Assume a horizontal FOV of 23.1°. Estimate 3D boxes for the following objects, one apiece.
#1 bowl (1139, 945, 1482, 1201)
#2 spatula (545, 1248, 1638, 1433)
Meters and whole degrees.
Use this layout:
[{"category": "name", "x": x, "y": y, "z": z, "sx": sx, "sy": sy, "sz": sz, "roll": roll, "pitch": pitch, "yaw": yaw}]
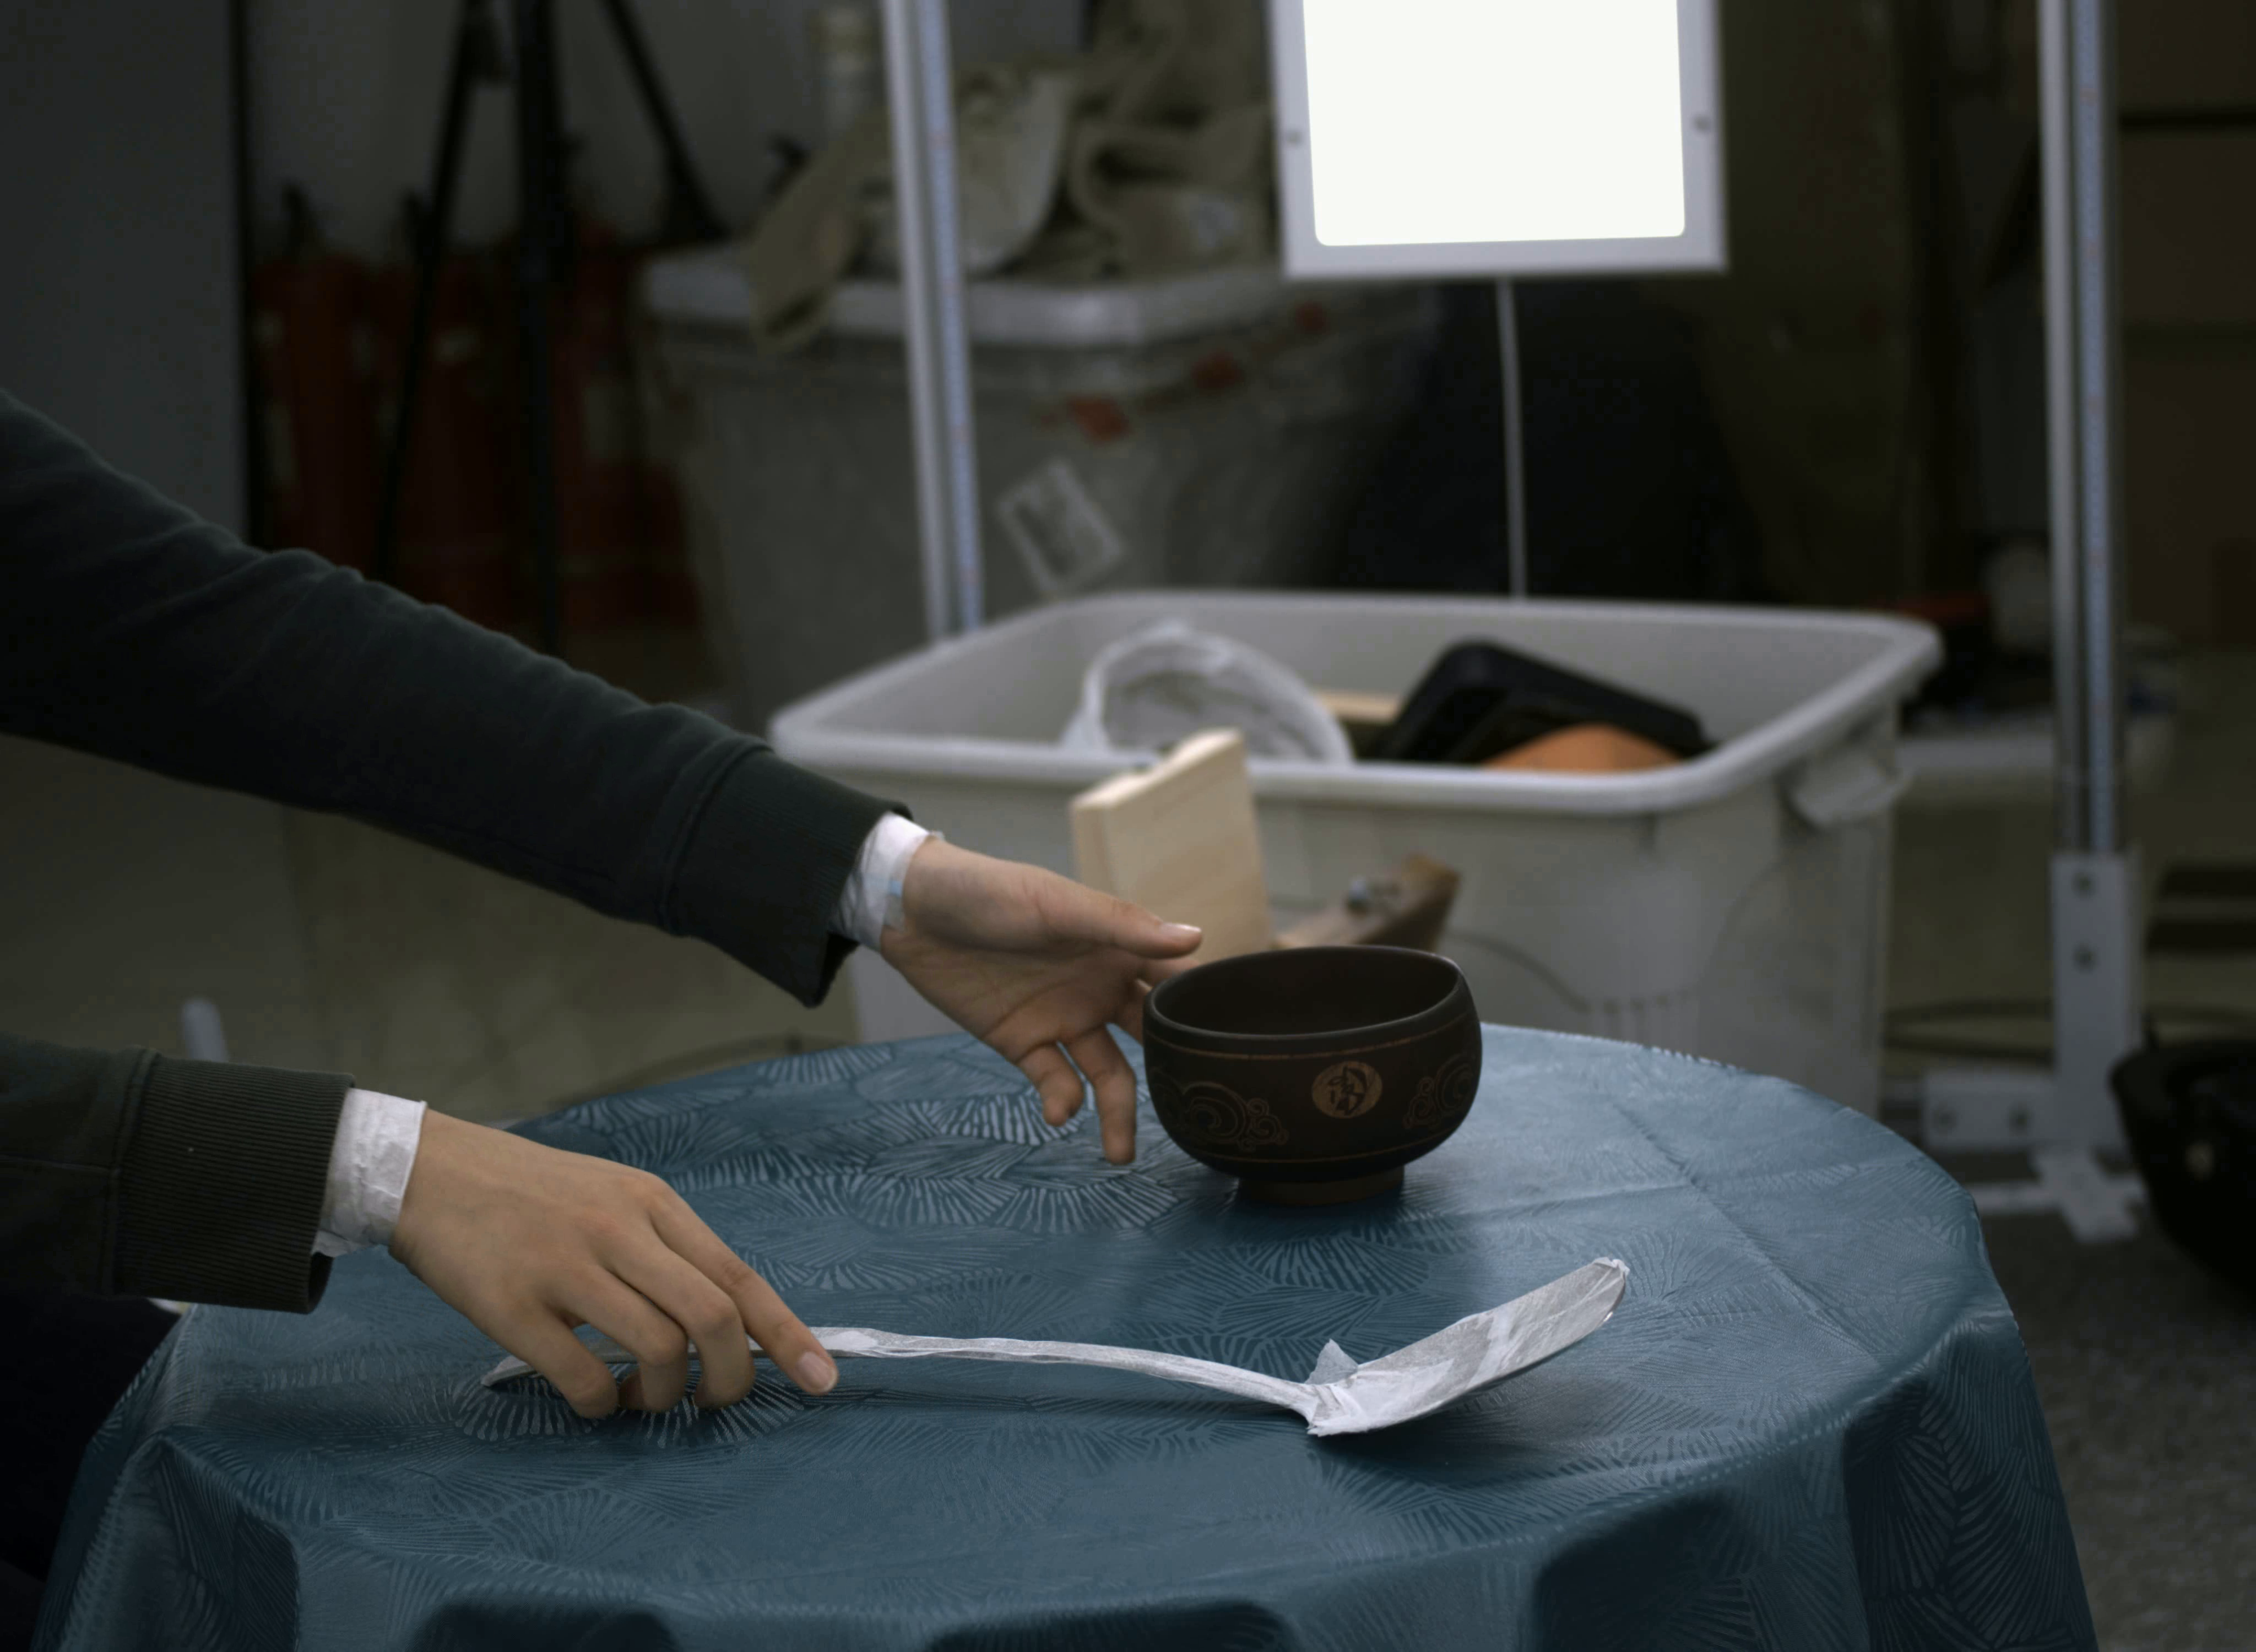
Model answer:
[{"category": "bowl", "x": 0.064, "y": 0.088, "z": 1.883, "sx": 0.118, "sy": 0.070, "sz": 0.118, "roll": -5, "pitch": 12, "yaw": 0}, {"category": "spatula", "x": -0.022, "y": 0.157, "z": 1.698, "sx": 0.370, "sy": 0.045, "sz": 0.097, "roll": 1, "pitch": 17, "yaw": 22}]
